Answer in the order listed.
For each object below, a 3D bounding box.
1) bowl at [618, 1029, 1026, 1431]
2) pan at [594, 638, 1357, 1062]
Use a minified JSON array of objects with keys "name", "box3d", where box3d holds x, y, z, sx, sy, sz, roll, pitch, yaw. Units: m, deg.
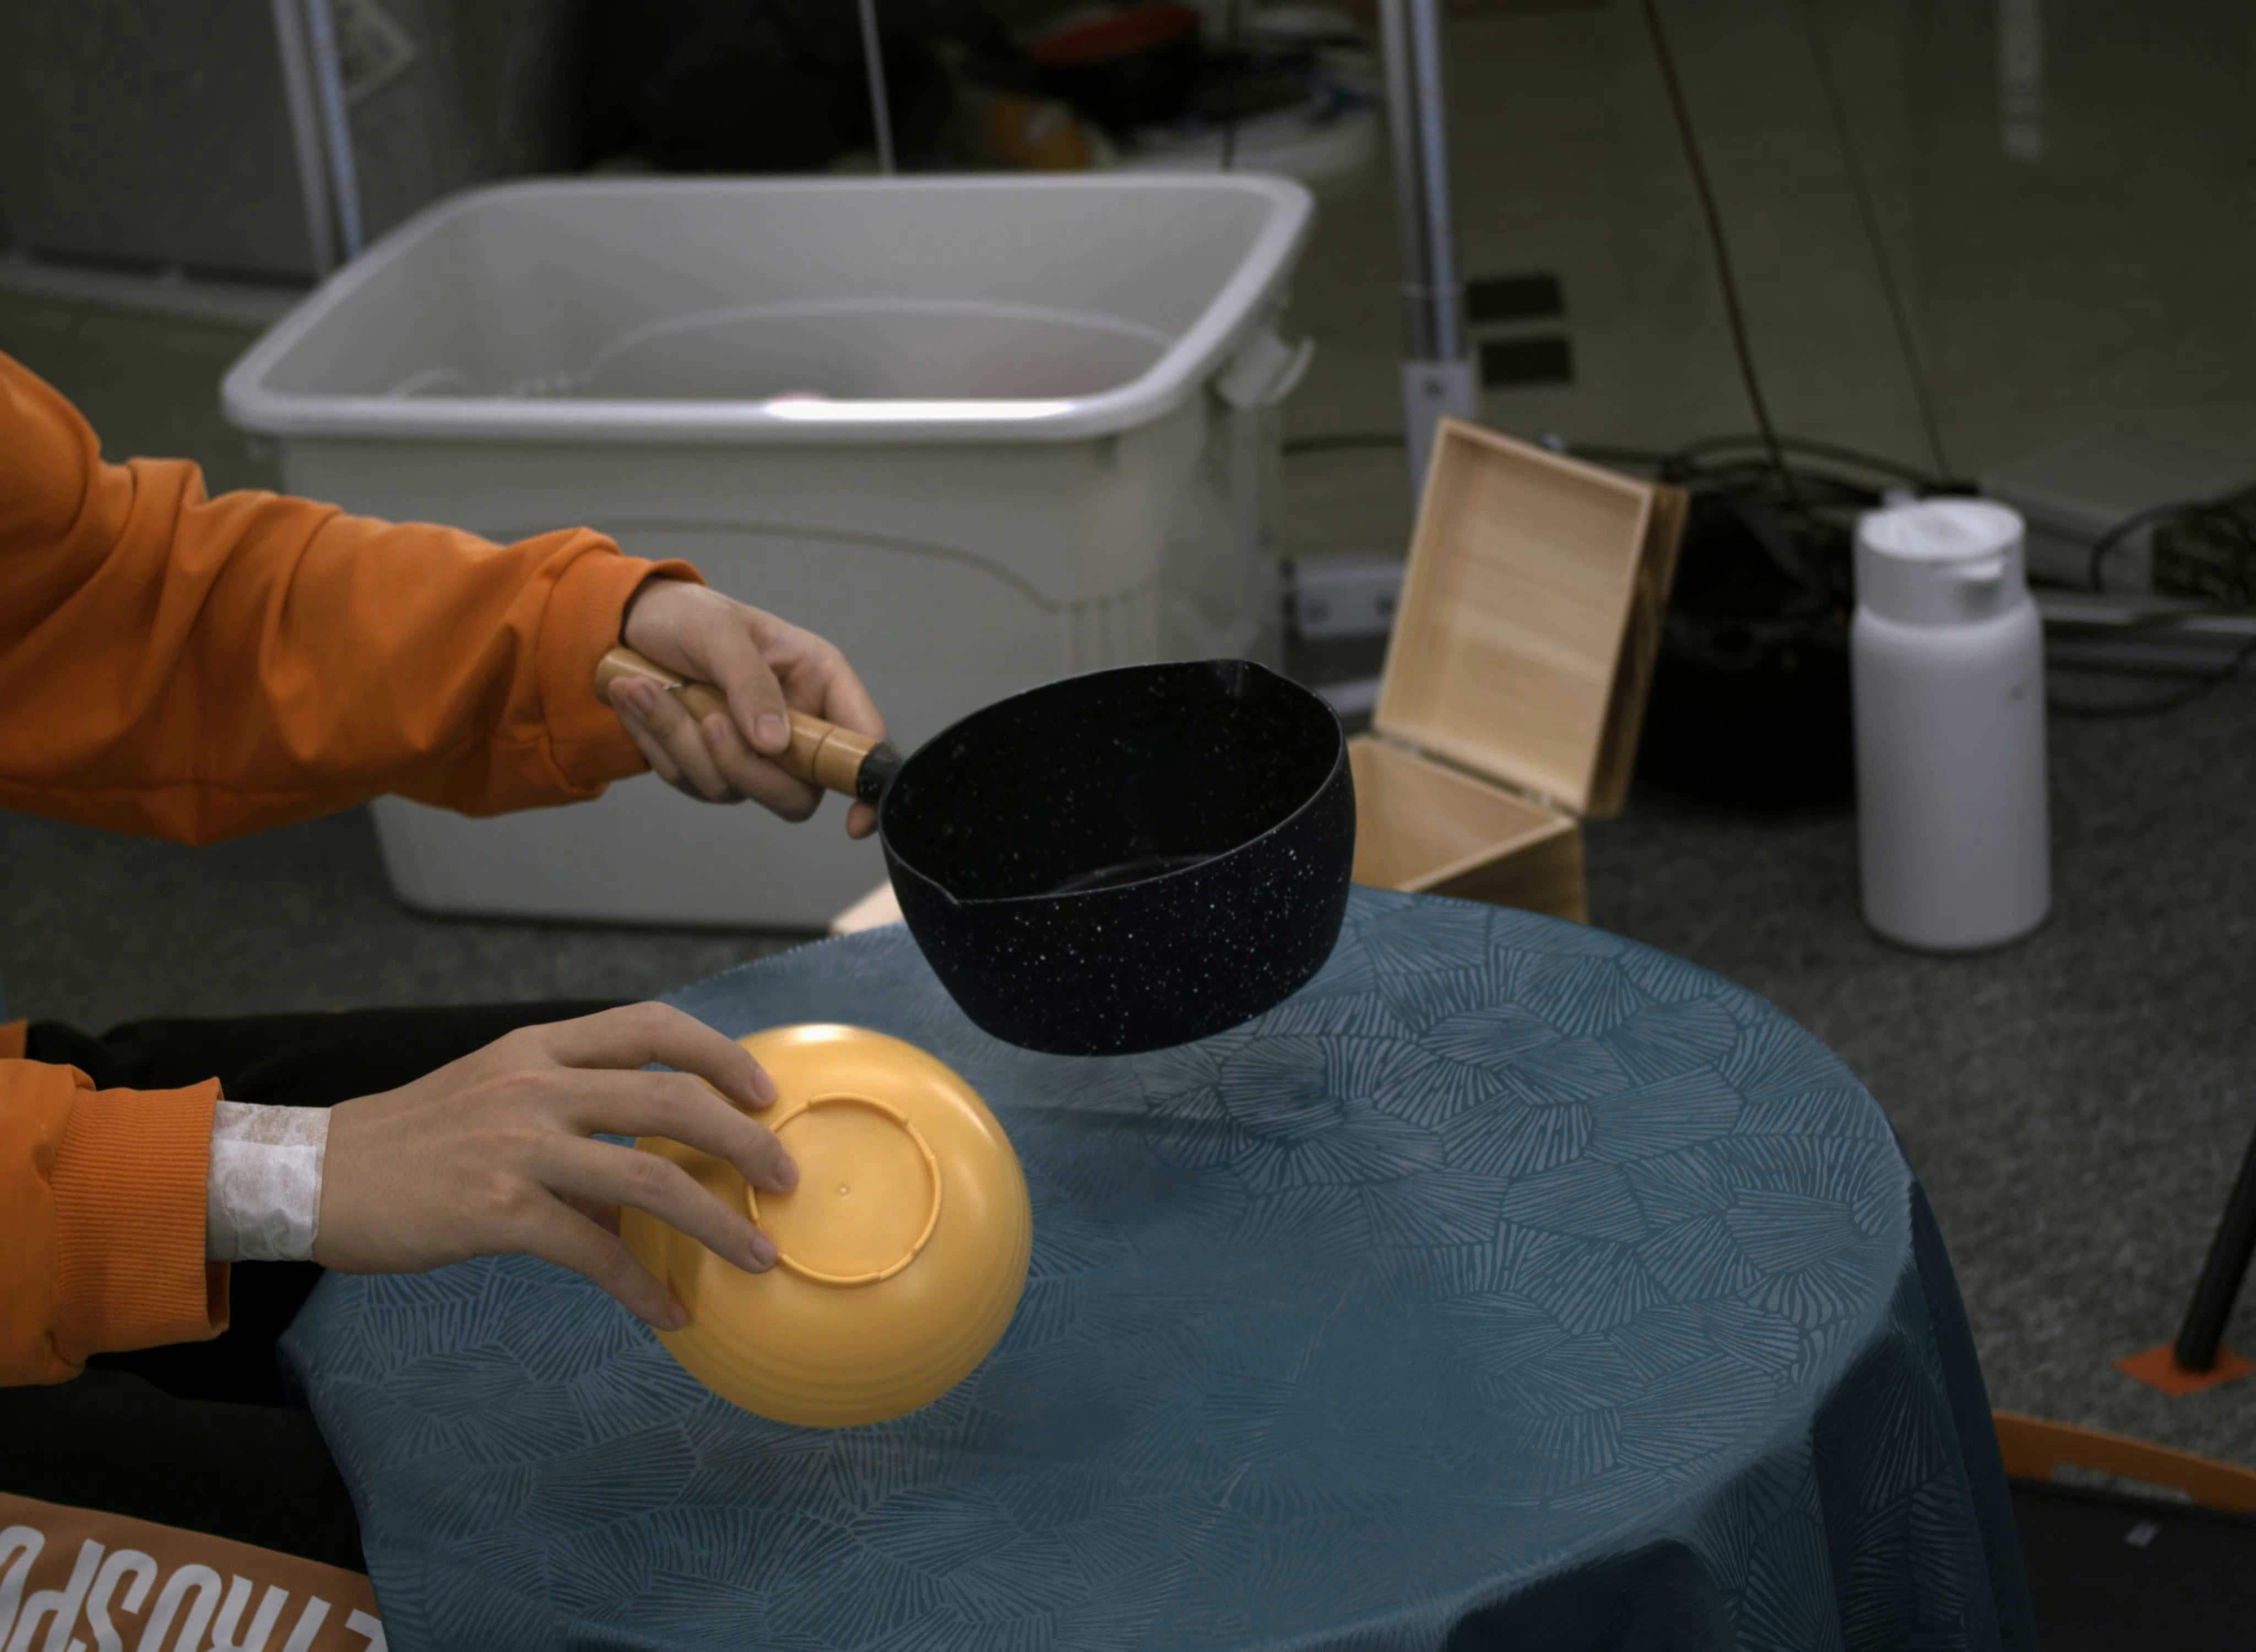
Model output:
[{"name":"bowl","box3d":[-0.102,0.131,1.953,0.145,0.144,0.061,-13,-15,-14]},{"name":"pan","box3d":[-0.067,-0.004,2.229,0.341,0.110,0.205,9,36,32]}]
